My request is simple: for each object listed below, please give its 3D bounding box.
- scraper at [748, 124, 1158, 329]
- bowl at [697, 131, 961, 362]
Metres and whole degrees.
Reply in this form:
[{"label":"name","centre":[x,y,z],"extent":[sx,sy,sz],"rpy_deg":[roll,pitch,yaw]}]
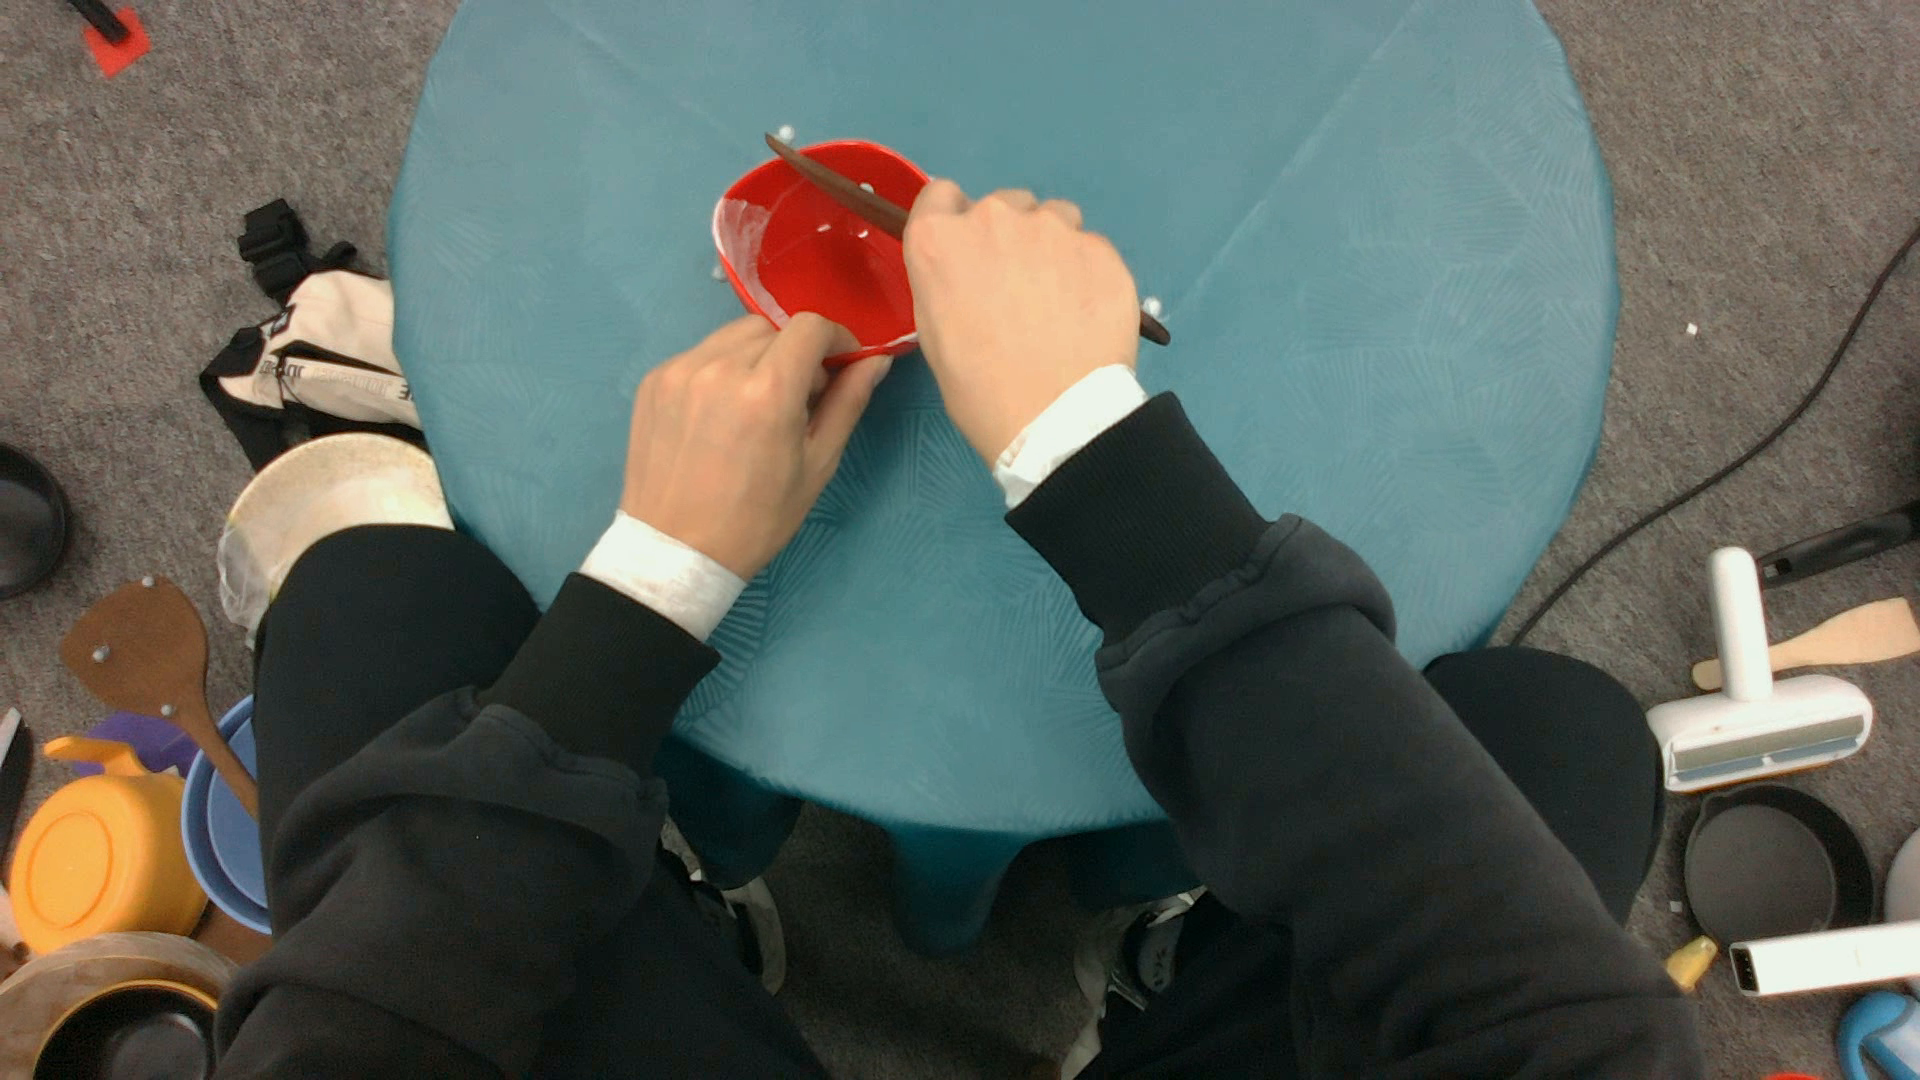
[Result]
[{"label":"scraper","centre":[-0.005,-0.128,0.573],"extent":[0.211,0.076,0.011],"rpy_deg":[31,95,33]},{"label":"bowl","centre":[-0.062,-0.126,0.633],"extent":[0.119,0.051,0.119],"rpy_deg":[6,63,-11]}]
